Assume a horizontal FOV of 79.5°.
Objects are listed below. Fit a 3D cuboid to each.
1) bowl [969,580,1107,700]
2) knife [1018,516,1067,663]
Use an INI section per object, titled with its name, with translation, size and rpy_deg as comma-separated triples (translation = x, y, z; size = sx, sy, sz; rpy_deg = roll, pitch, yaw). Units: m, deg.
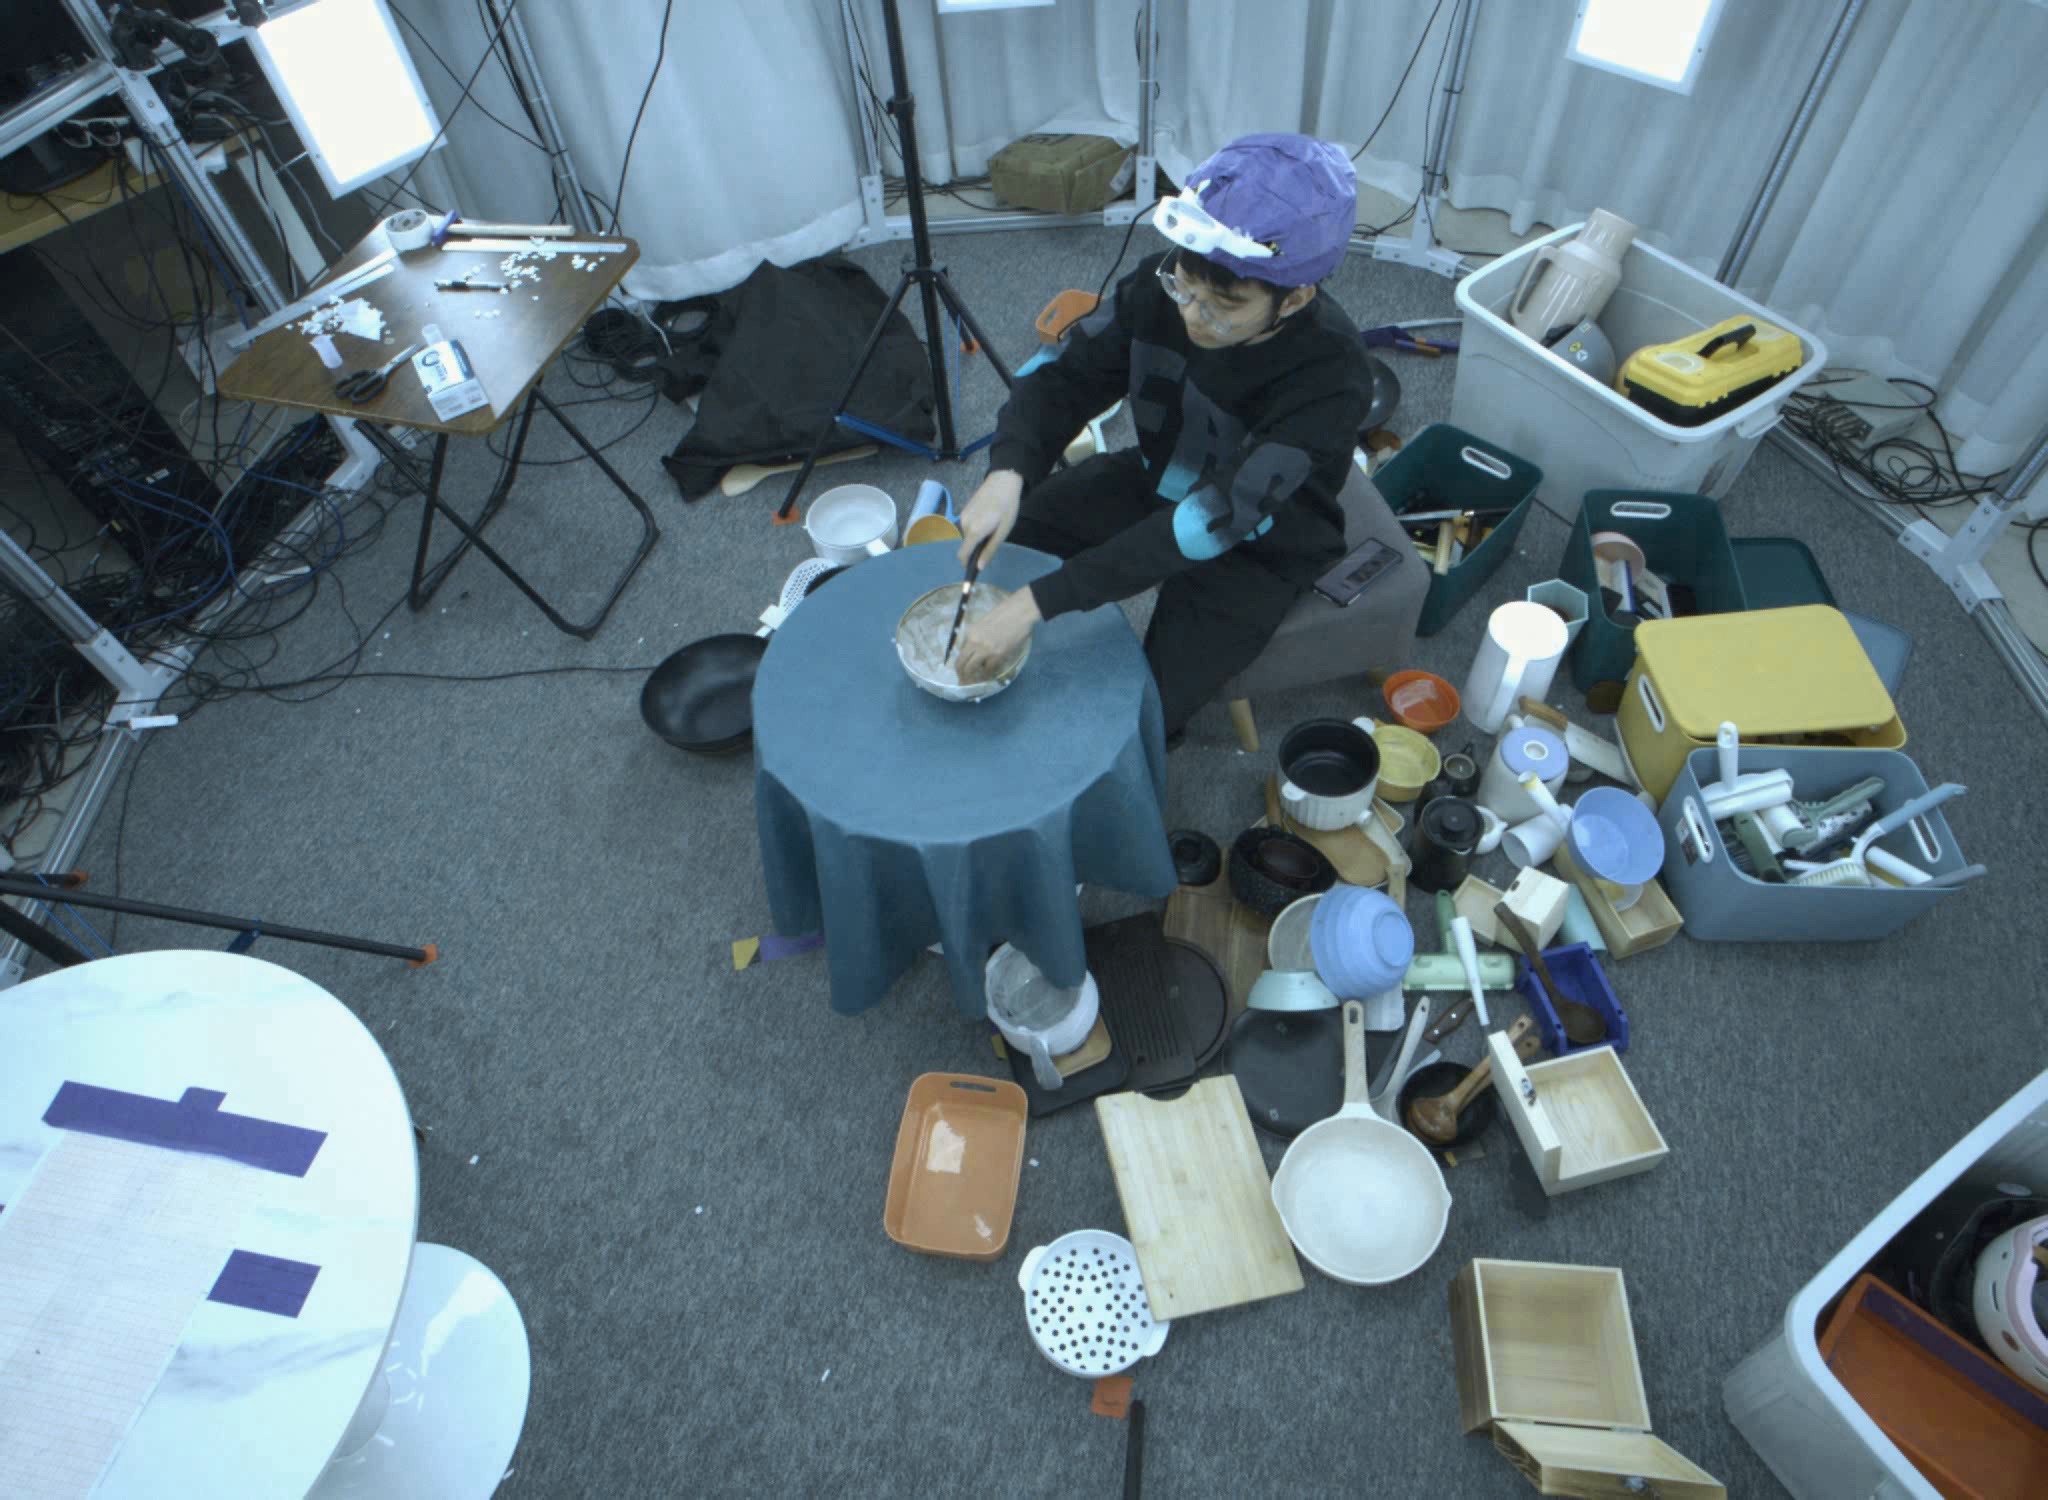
[bowl]
translation = 0.025, -0.151, 1.833
size = 0.214, 0.095, 0.212
rpy_deg = -1, 56, 2
[knife]
translation = 0.023, -0.237, 1.812
size = 0.017, 0.026, 0.225
rpy_deg = 20, 95, 22
